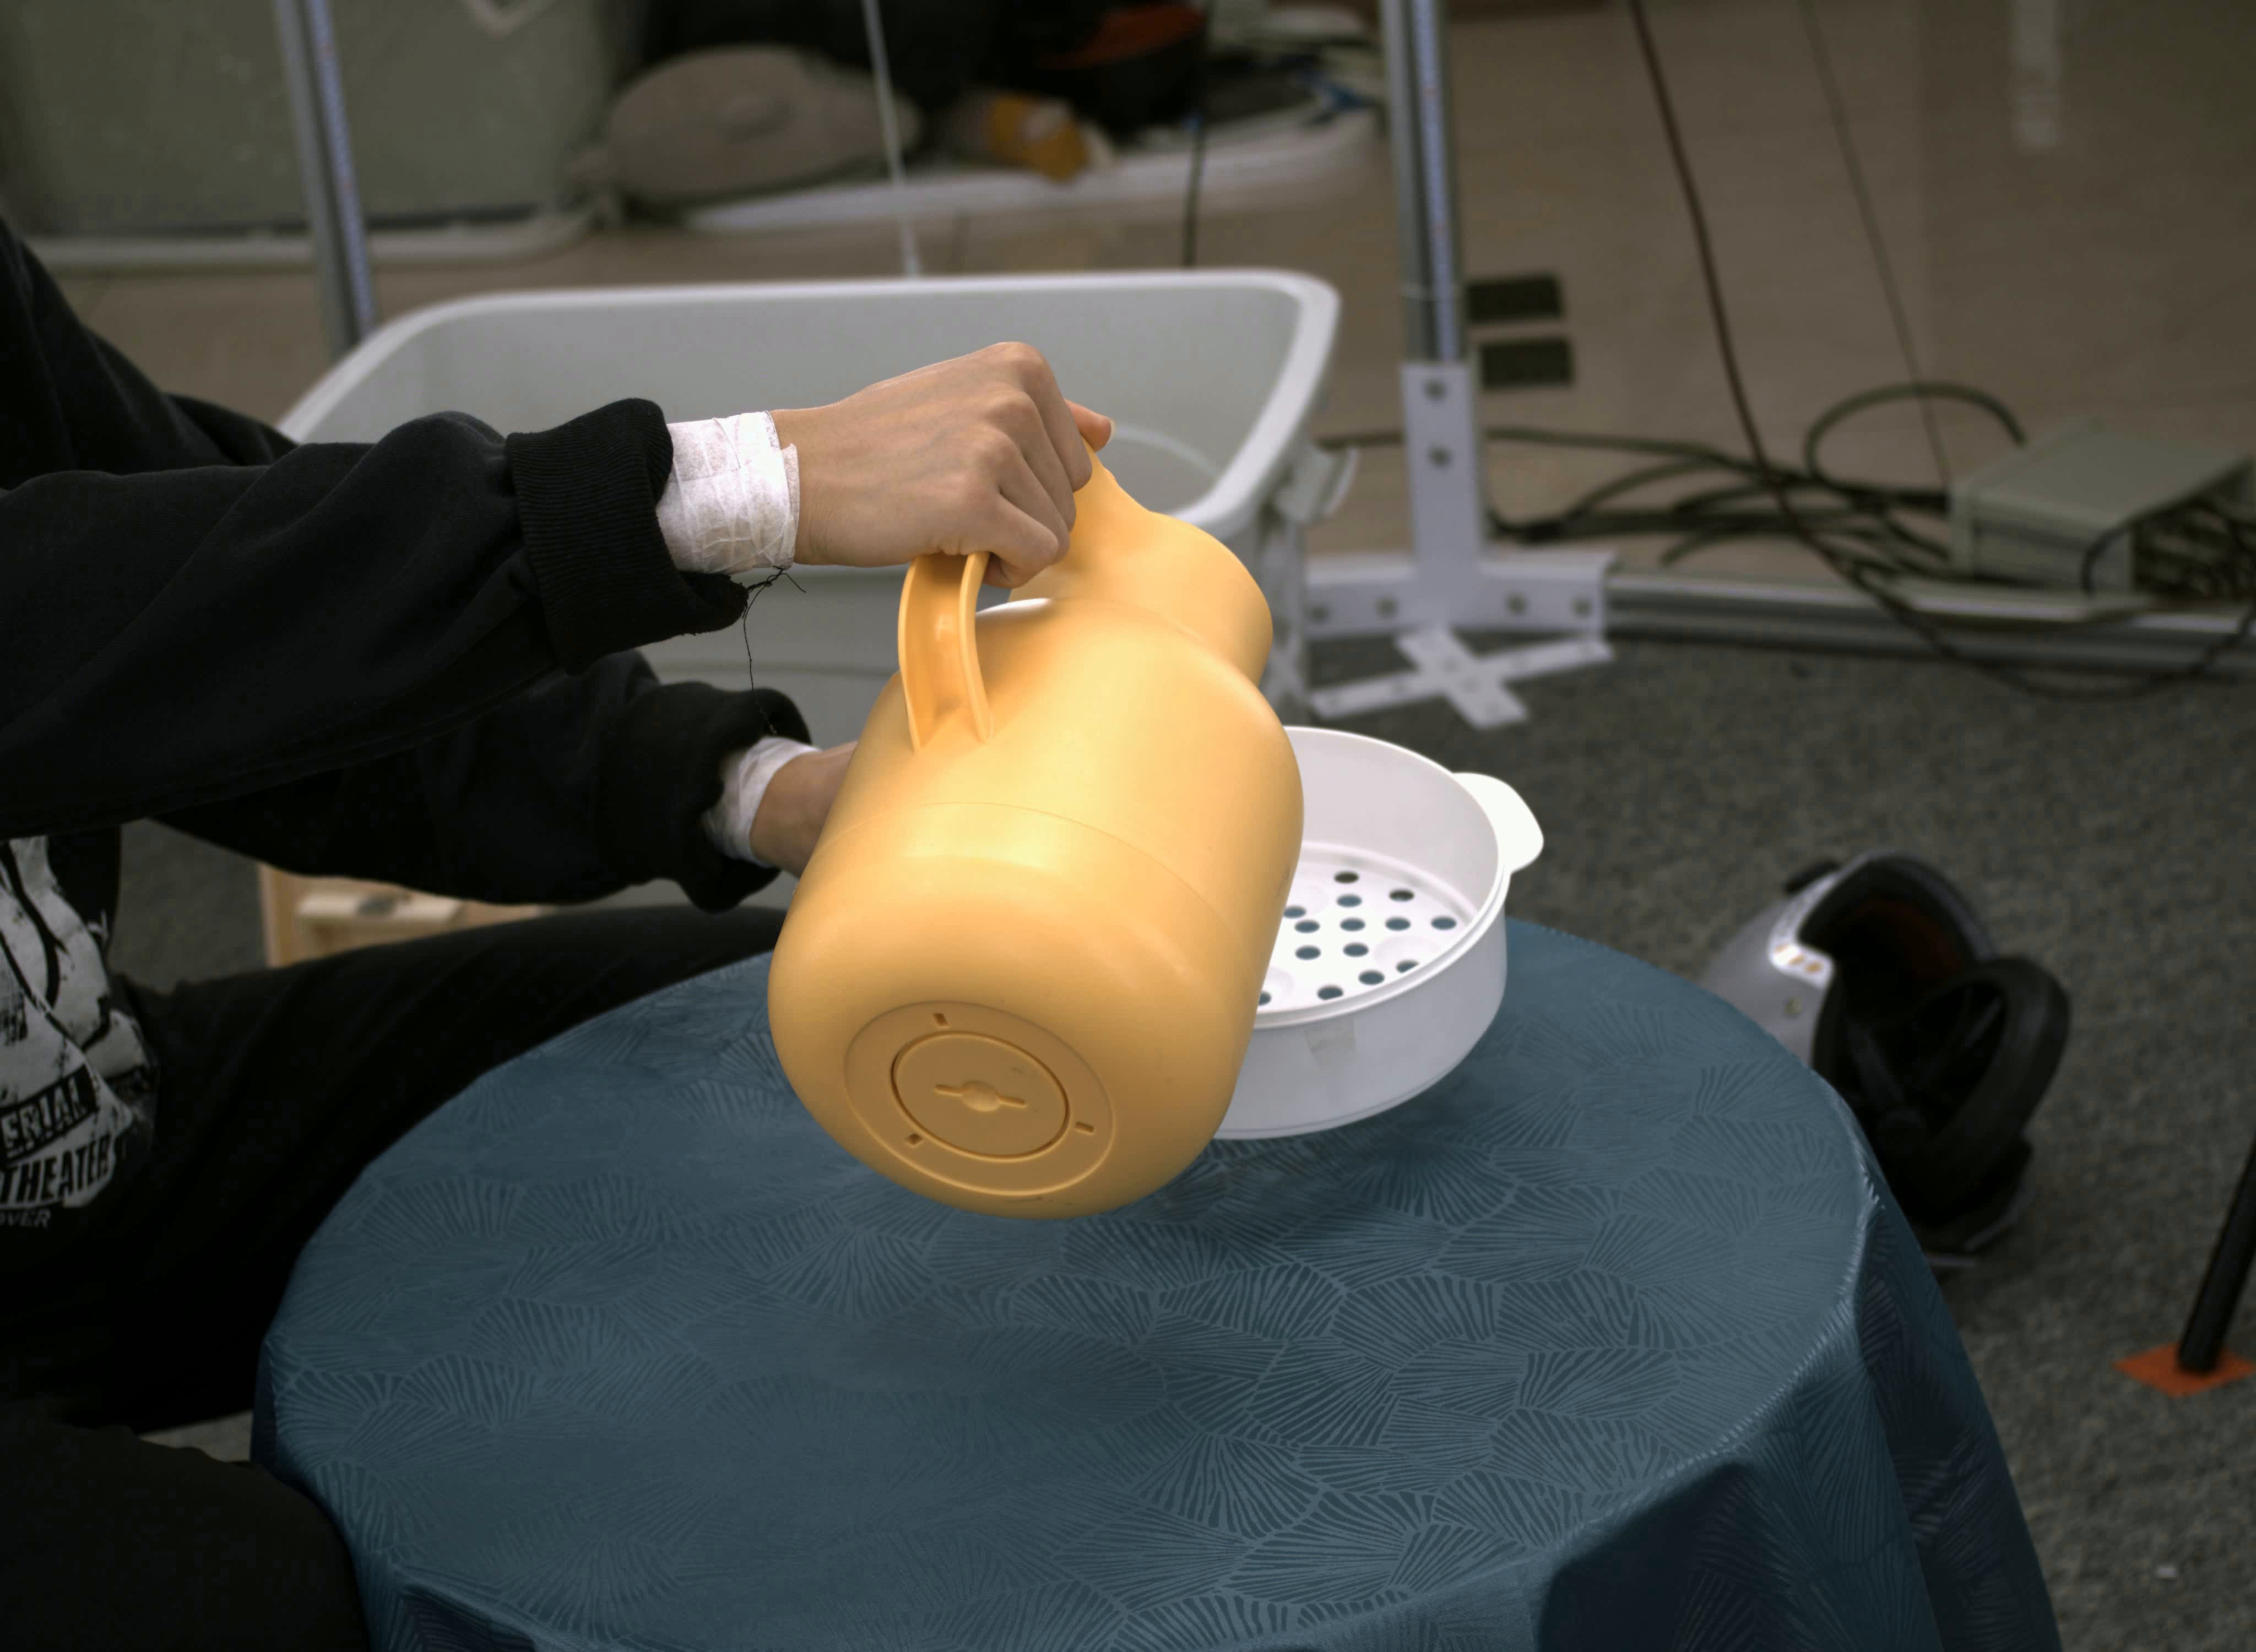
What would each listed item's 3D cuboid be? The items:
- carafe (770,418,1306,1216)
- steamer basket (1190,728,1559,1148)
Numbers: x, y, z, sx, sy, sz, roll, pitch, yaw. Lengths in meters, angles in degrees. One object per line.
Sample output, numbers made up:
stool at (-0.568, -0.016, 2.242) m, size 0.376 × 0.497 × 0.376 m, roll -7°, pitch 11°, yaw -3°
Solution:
carafe at (-0.029, -0.013, 1.968) m, size 0.163 × 0.206 × 0.256 m, roll -10°, pitch 39°, yaw 25°
steamer basket at (0.054, 0.043, 2.184) m, size 0.230 × 0.070 × 0.198 m, roll -12°, pitch 36°, yaw -11°
